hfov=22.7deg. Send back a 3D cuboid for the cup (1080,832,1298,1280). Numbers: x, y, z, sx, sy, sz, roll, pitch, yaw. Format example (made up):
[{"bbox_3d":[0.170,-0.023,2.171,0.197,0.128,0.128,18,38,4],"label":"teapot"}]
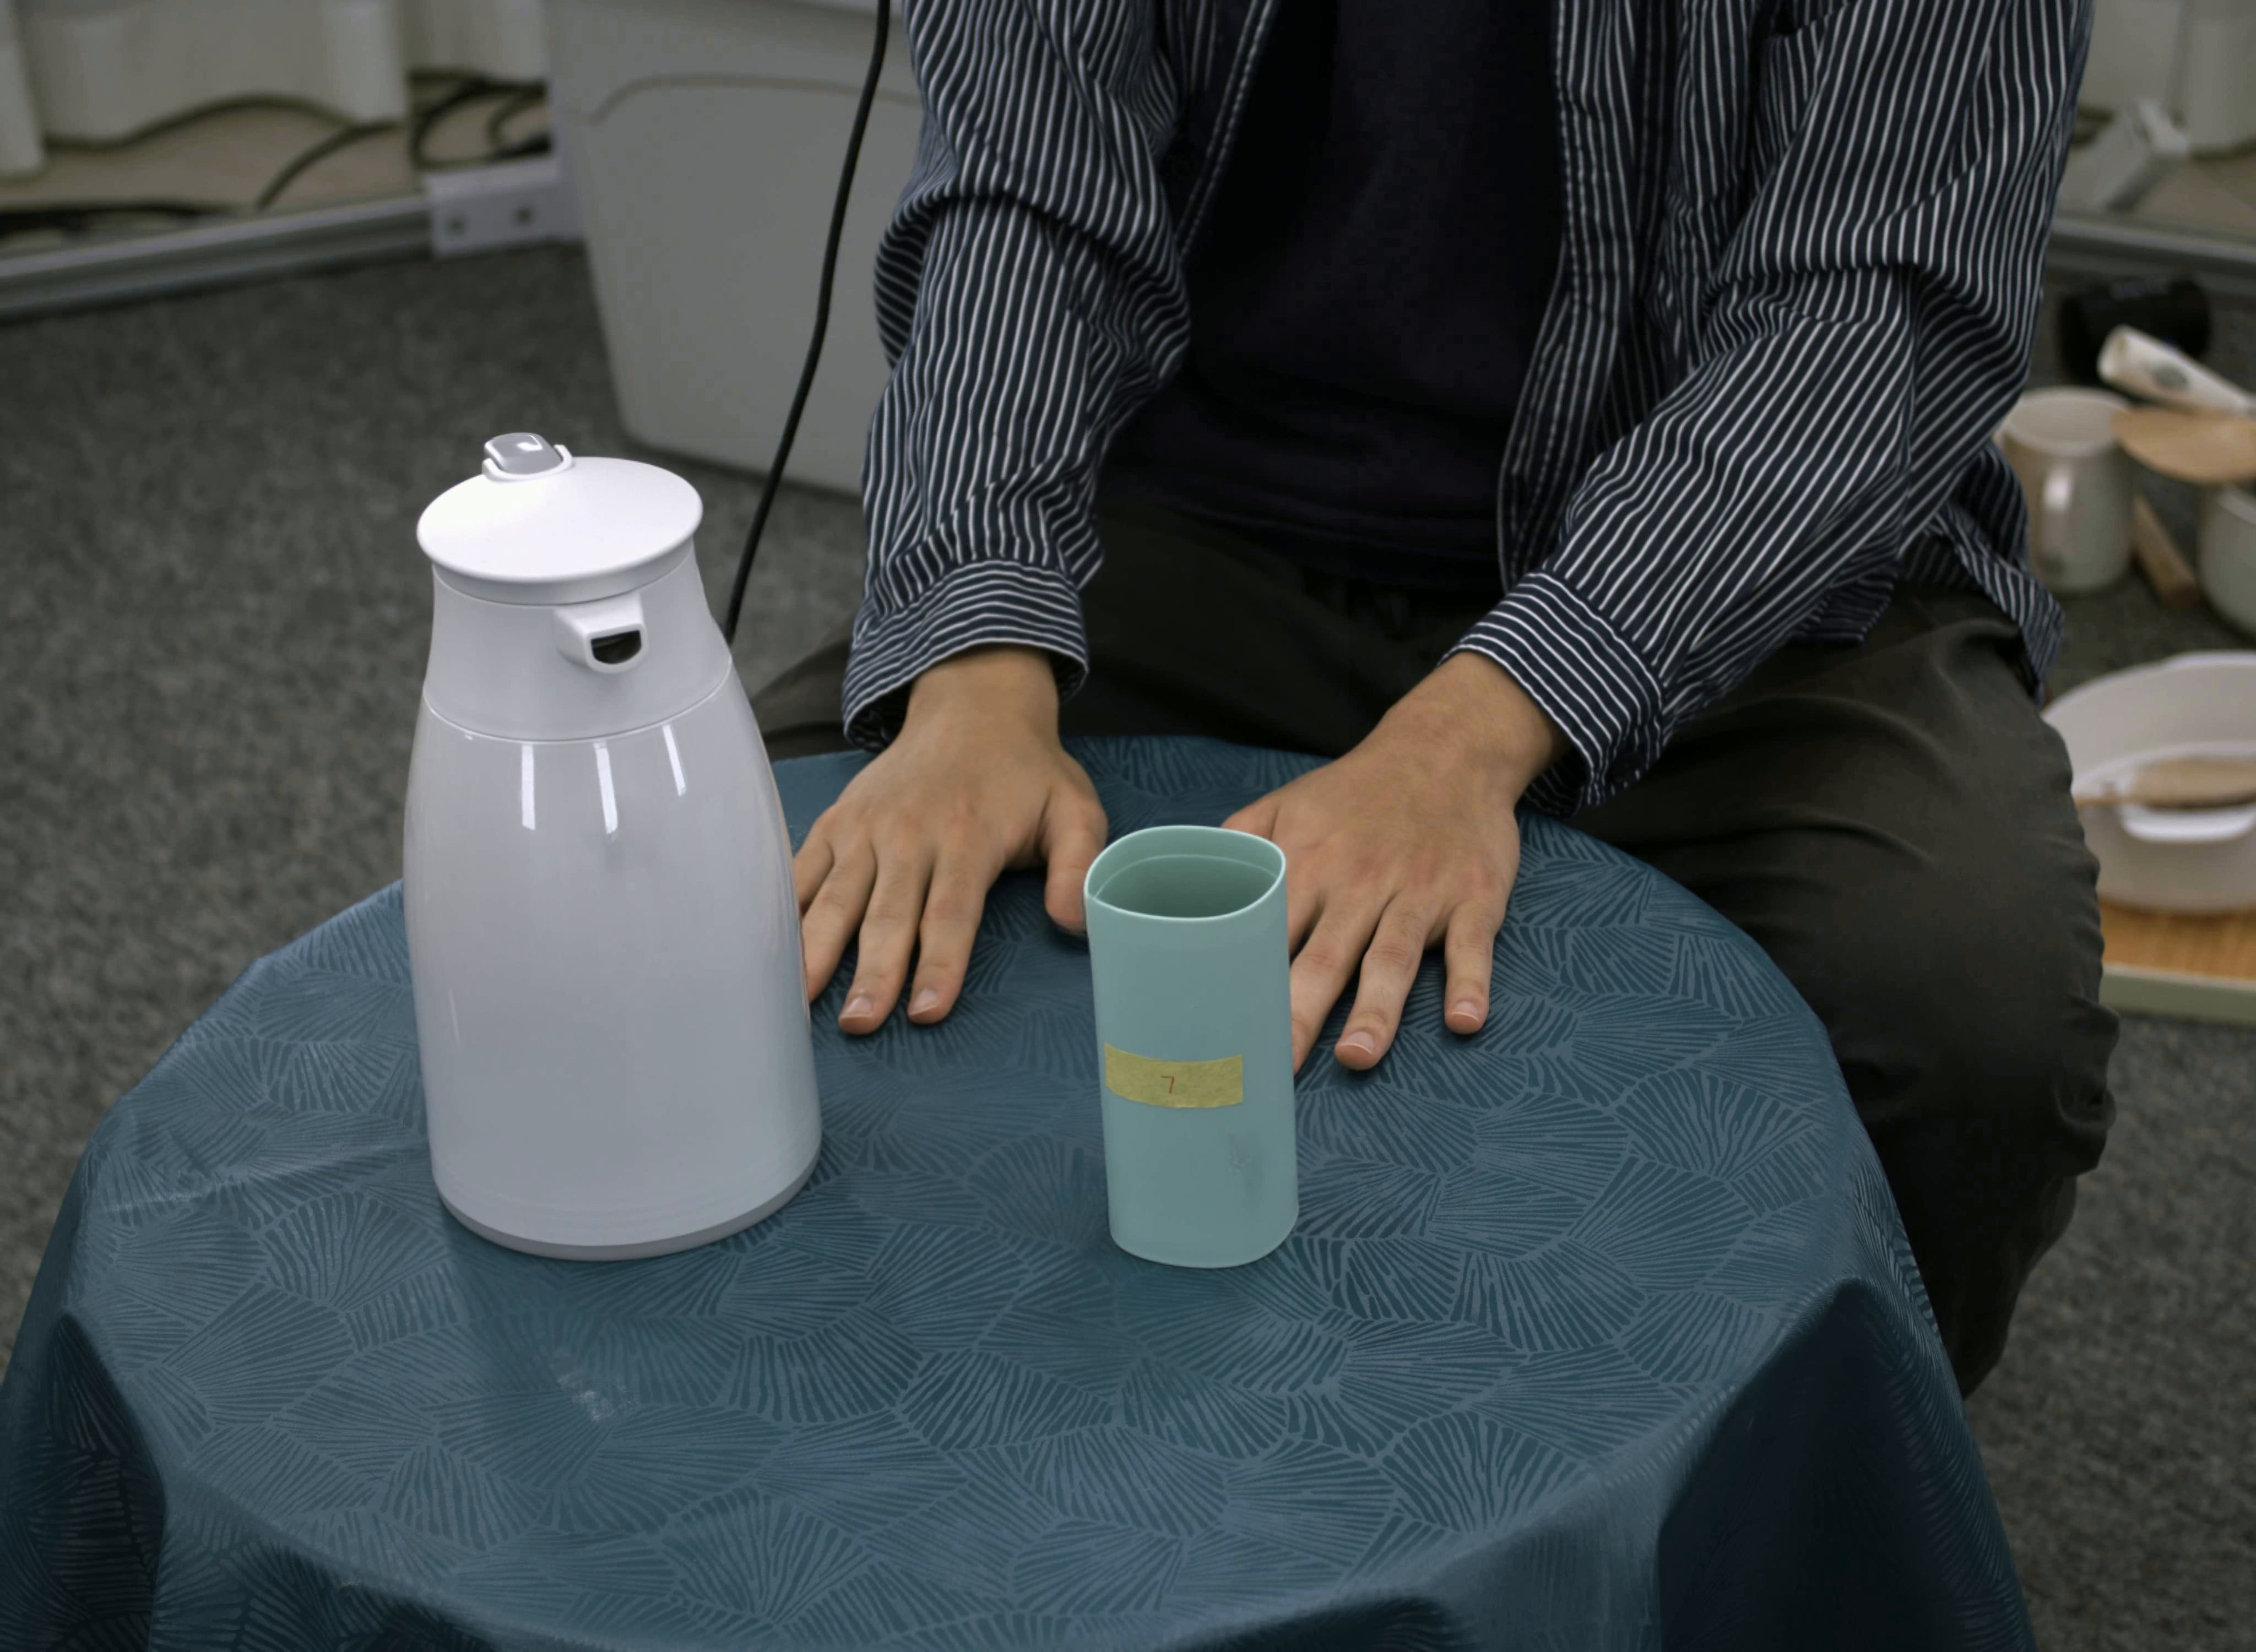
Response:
[{"bbox_3d":[0.021,0.073,1.811,0.066,0.131,0.068,-3,28,2],"label":"cup"}]

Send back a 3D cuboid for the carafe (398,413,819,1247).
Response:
[{"bbox_3d":[-0.184,-0.009,1.851,0.133,0.246,0.169,-14,27,-19],"label":"carafe"}]
